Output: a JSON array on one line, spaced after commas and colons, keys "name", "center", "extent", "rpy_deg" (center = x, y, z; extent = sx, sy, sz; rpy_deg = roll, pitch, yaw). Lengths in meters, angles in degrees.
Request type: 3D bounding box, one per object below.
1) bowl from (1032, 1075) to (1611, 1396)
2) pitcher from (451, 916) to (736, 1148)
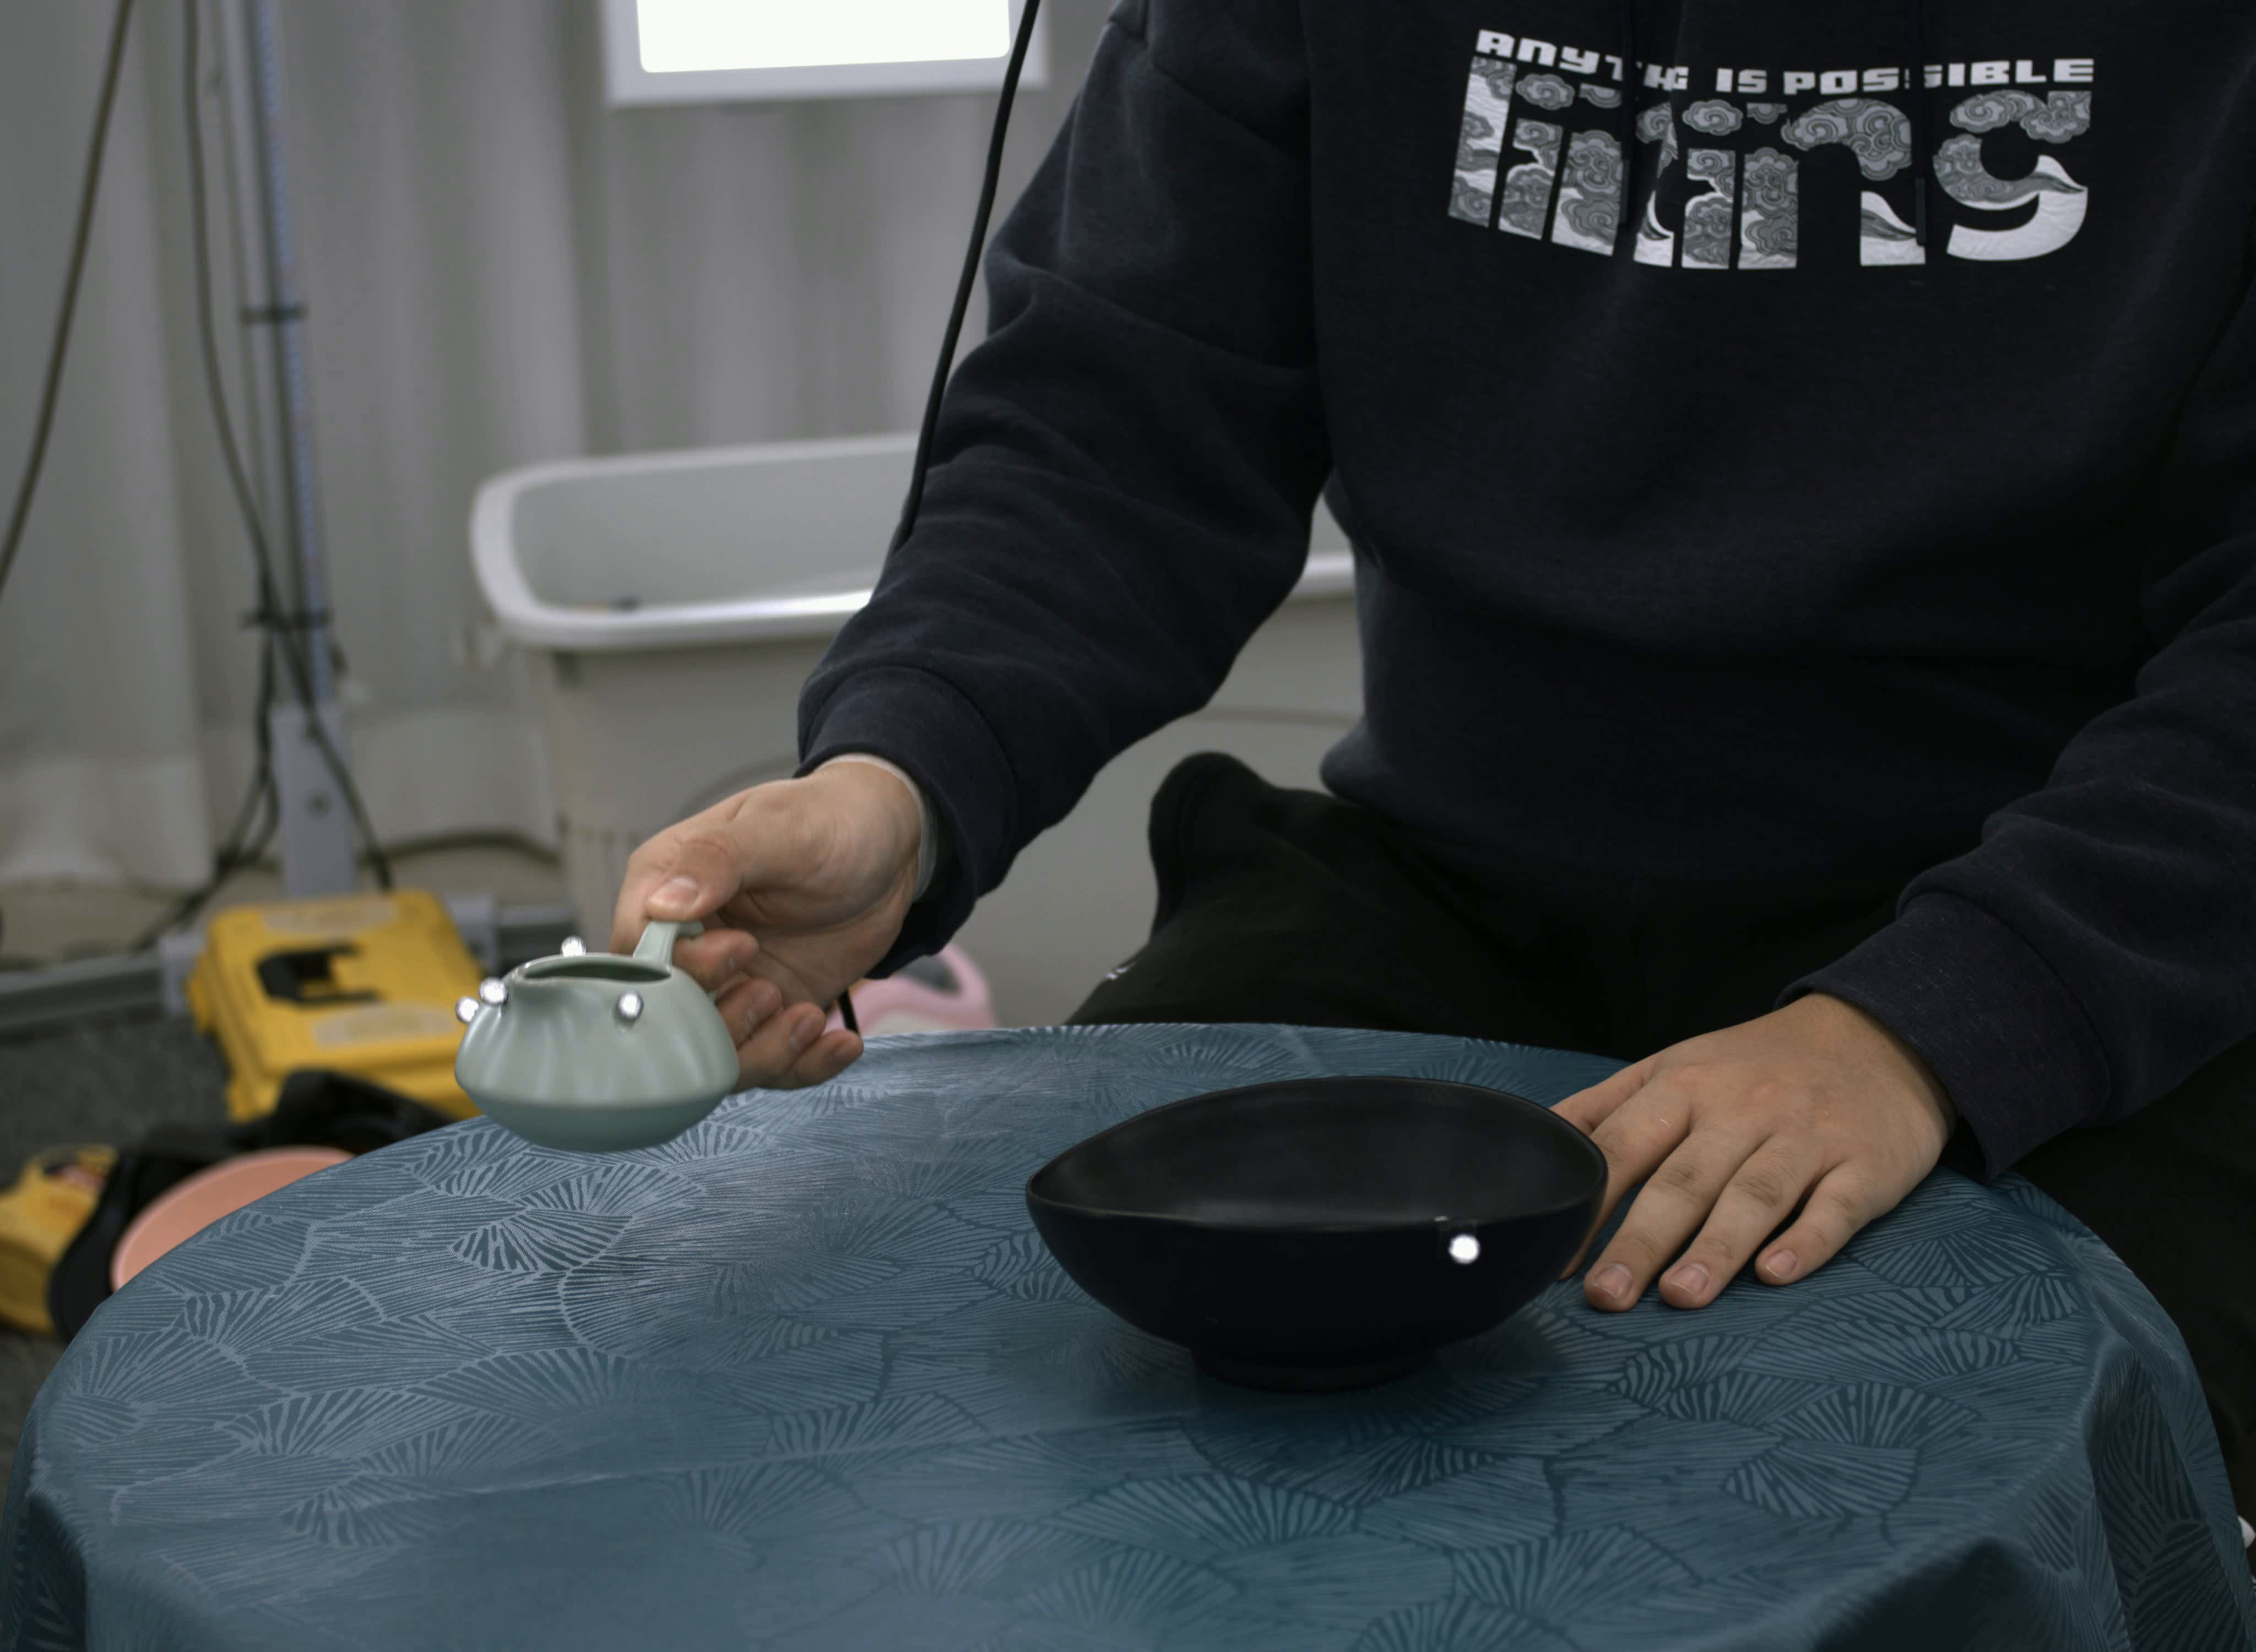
[{"name": "bowl", "center": [0.054, 0.122, 1.560], "extent": [0.170, 0.066, 0.138], "rpy_deg": [1, 14, 17]}, {"name": "pitcher", "center": [-0.156, 0.062, 1.662], "extent": [0.086, 0.060, 0.108], "rpy_deg": [7, 10, 22]}]
